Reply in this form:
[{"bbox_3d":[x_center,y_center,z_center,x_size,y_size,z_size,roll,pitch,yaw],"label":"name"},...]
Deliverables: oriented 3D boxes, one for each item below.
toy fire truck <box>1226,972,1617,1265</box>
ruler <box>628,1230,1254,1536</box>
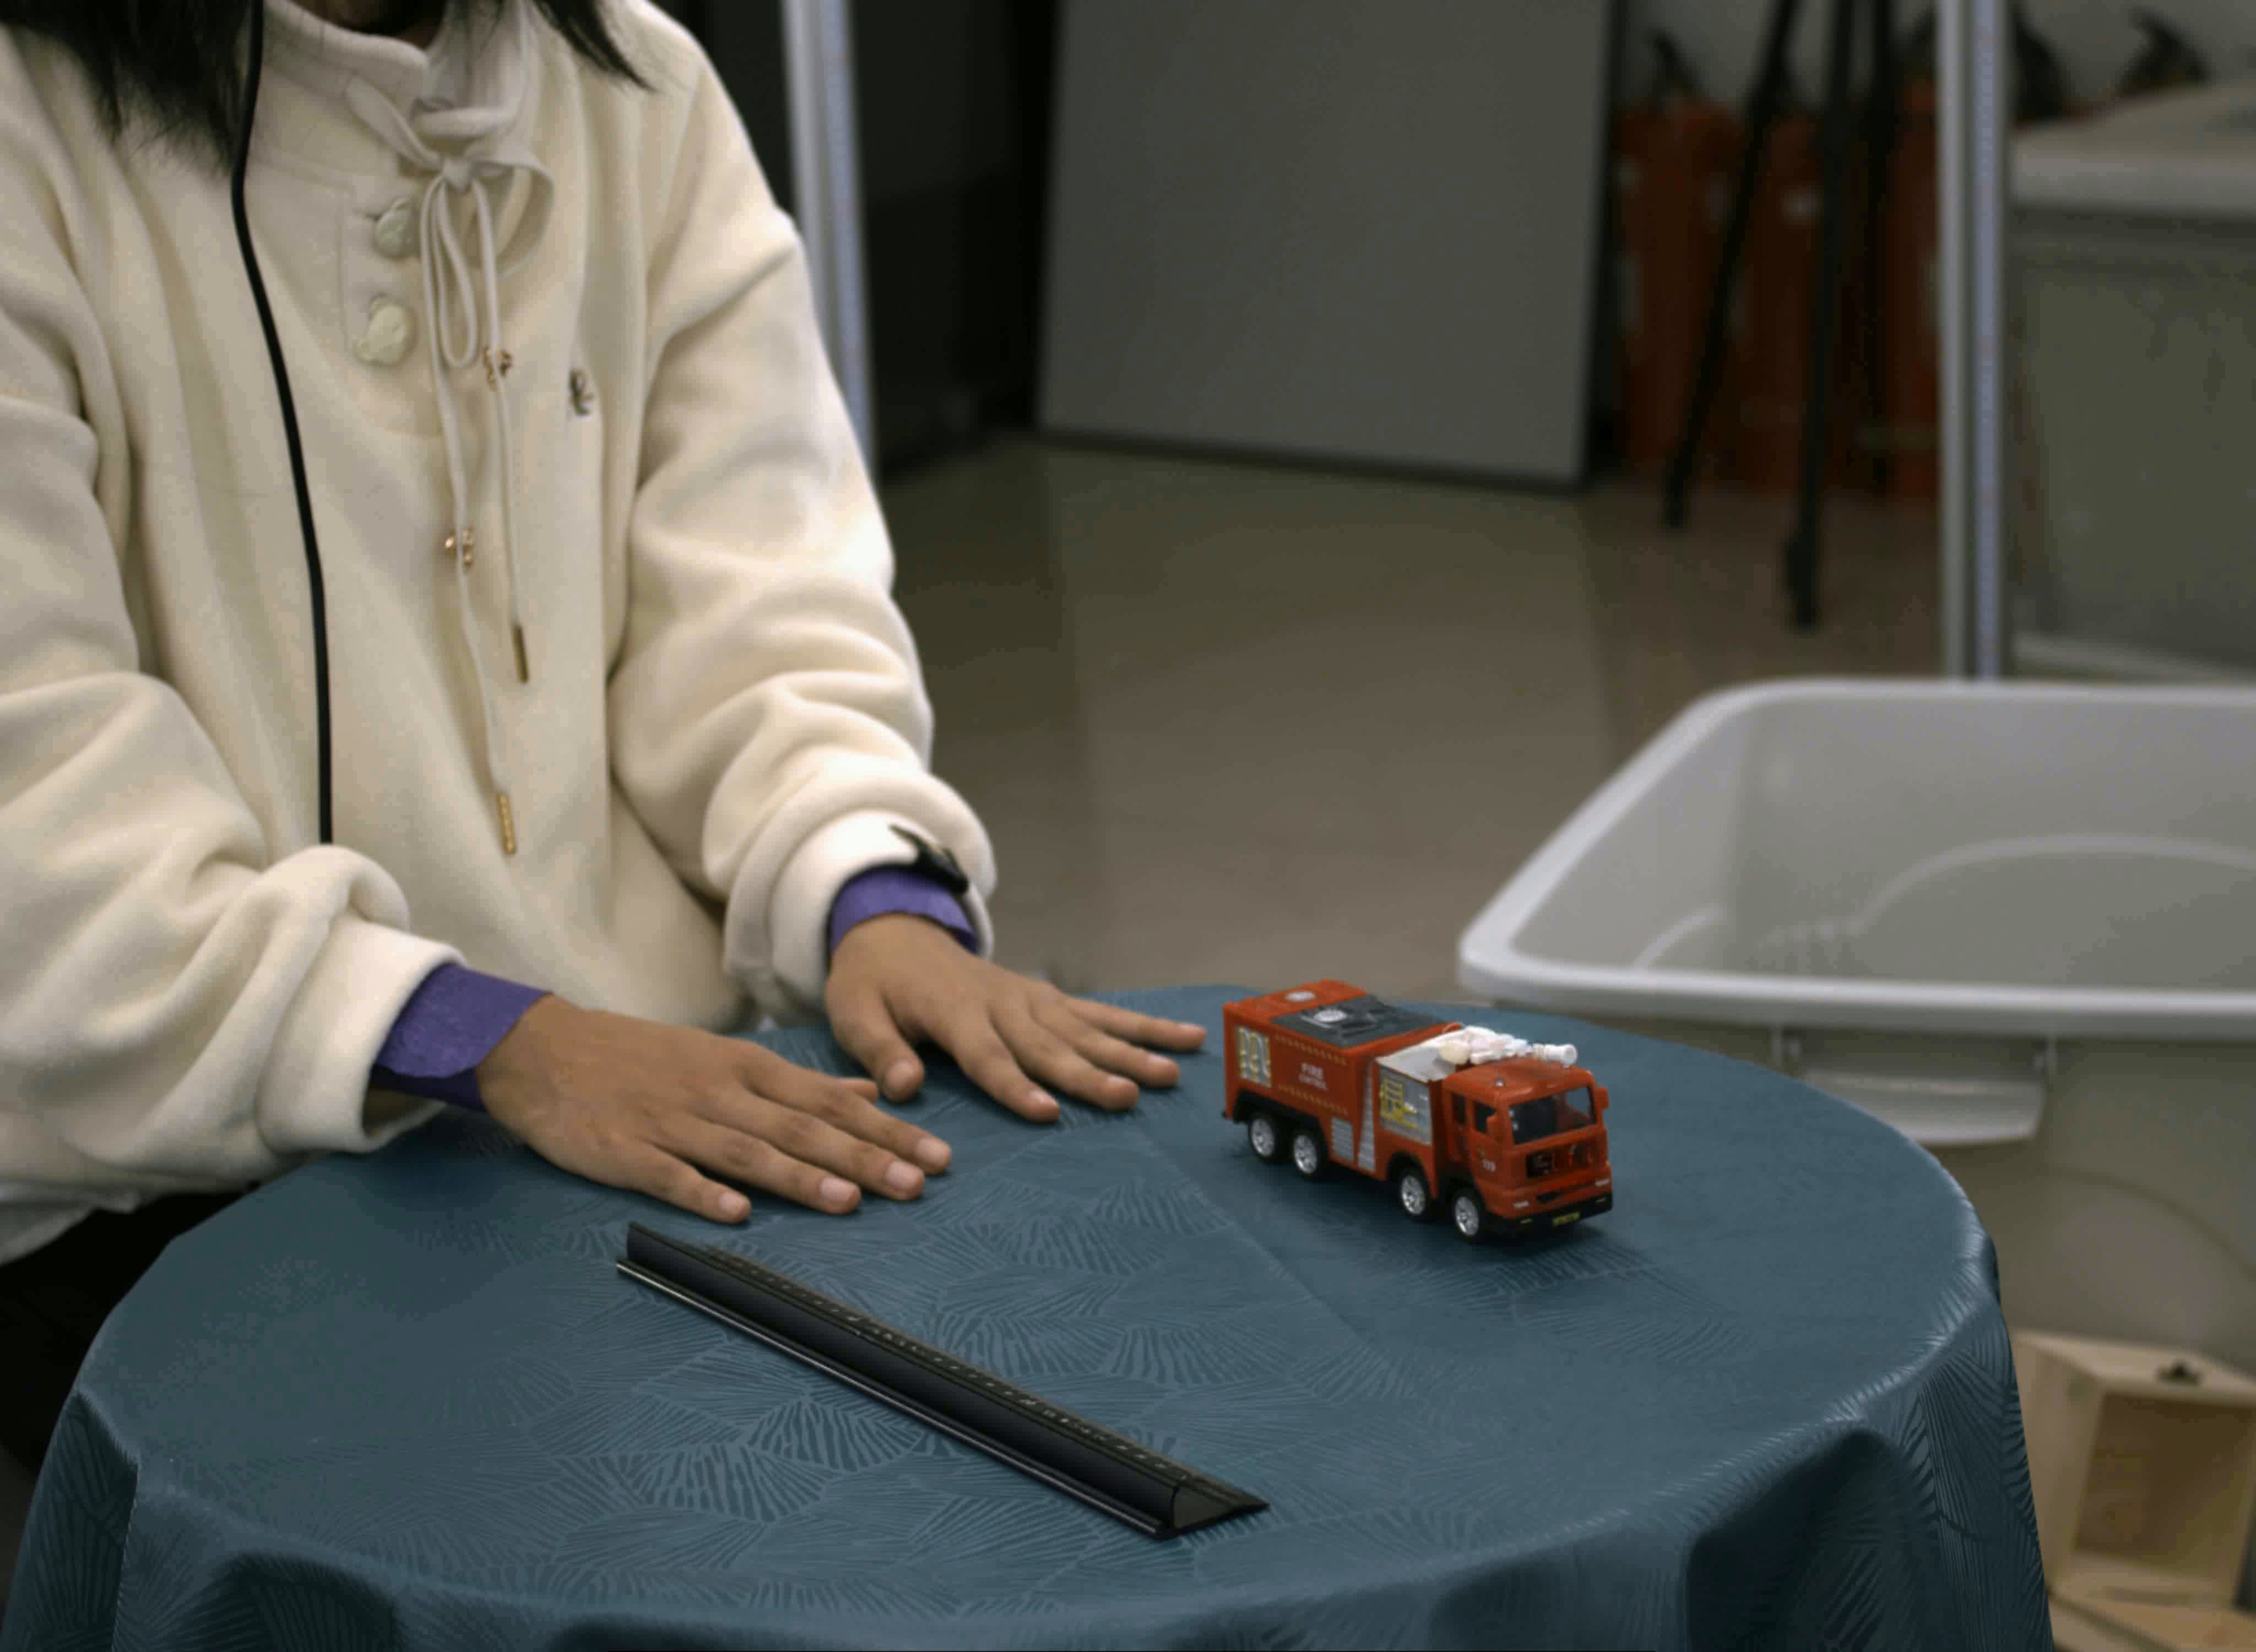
[{"bbox_3d":[0.094,0.091,1.743,0.053,0.071,0.170,-12,14,-30],"label":"toy fire truck"},{"bbox_3d":[-0.061,0.159,1.602,0.038,0.017,0.316,-8,13,-31],"label":"ruler"}]
